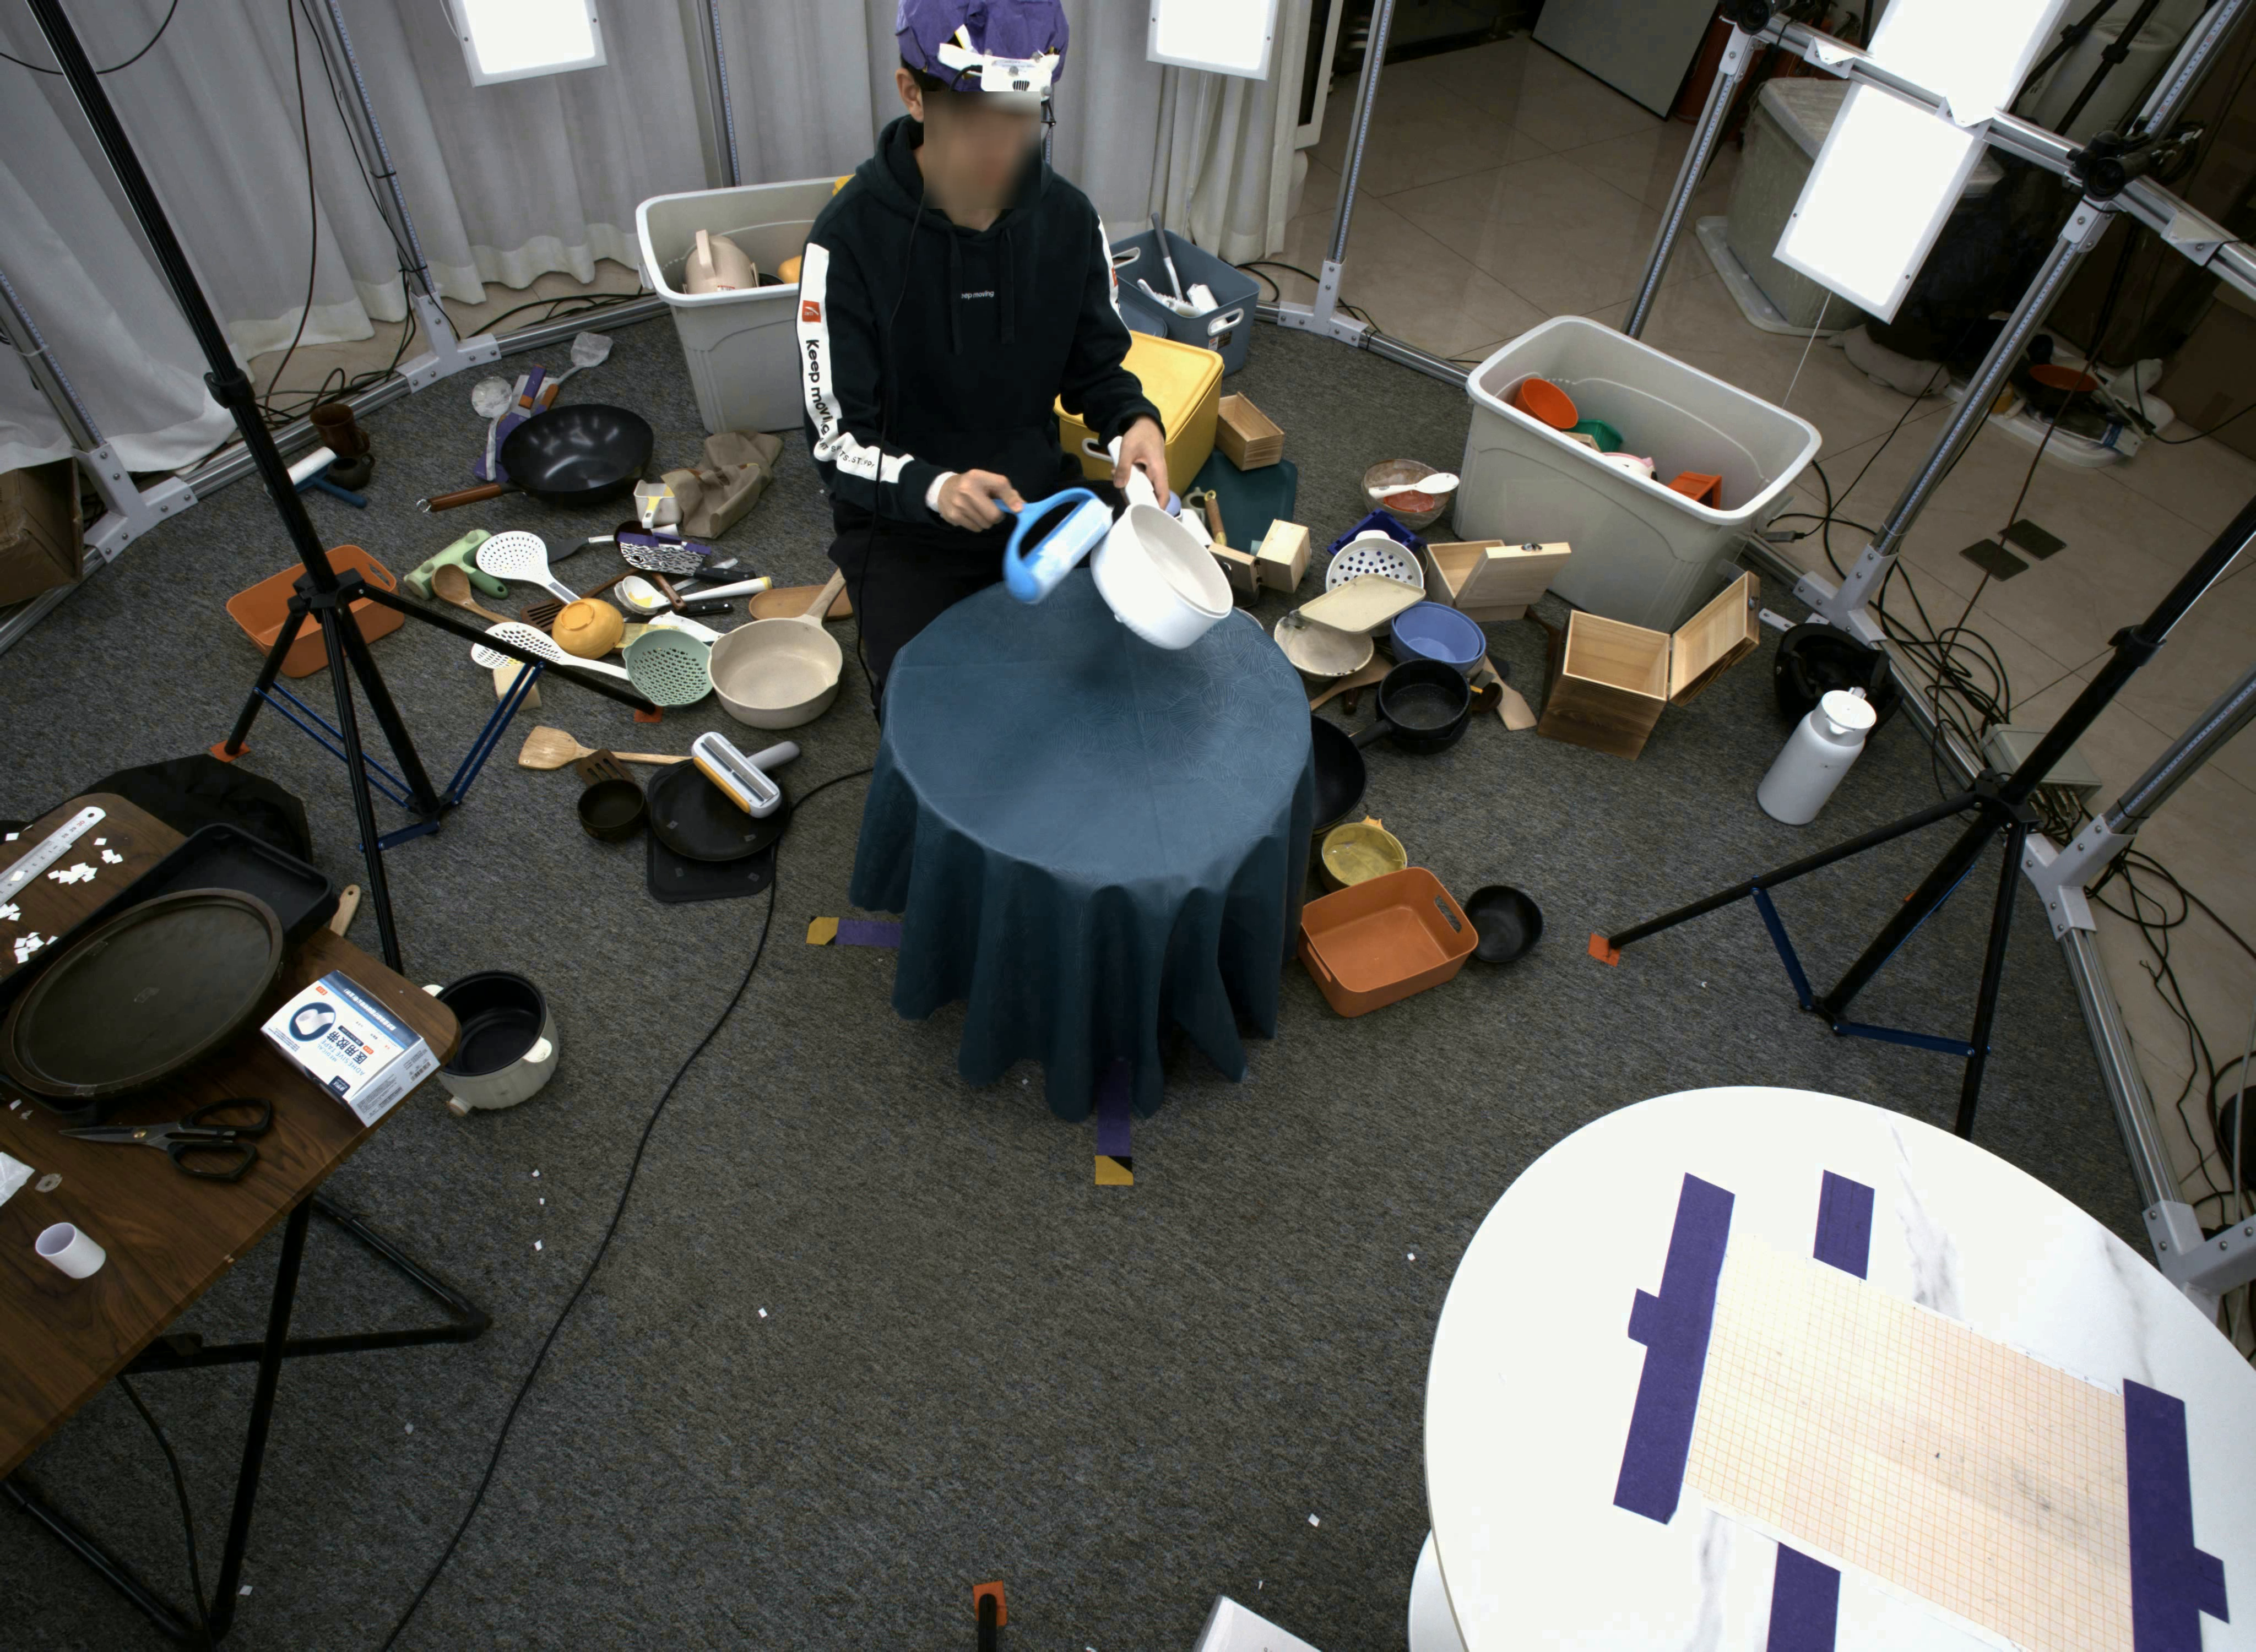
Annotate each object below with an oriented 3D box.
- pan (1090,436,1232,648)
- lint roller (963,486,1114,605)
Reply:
[{"bbox_3d":[0.020,-0.405,1.830,0.198,0.101,0.363,19,41,-43],"label":"pan"},{"bbox_3d":[-0.134,-0.392,1.702,0.180,0.066,0.233,25,49,5],"label":"lint roller"}]
